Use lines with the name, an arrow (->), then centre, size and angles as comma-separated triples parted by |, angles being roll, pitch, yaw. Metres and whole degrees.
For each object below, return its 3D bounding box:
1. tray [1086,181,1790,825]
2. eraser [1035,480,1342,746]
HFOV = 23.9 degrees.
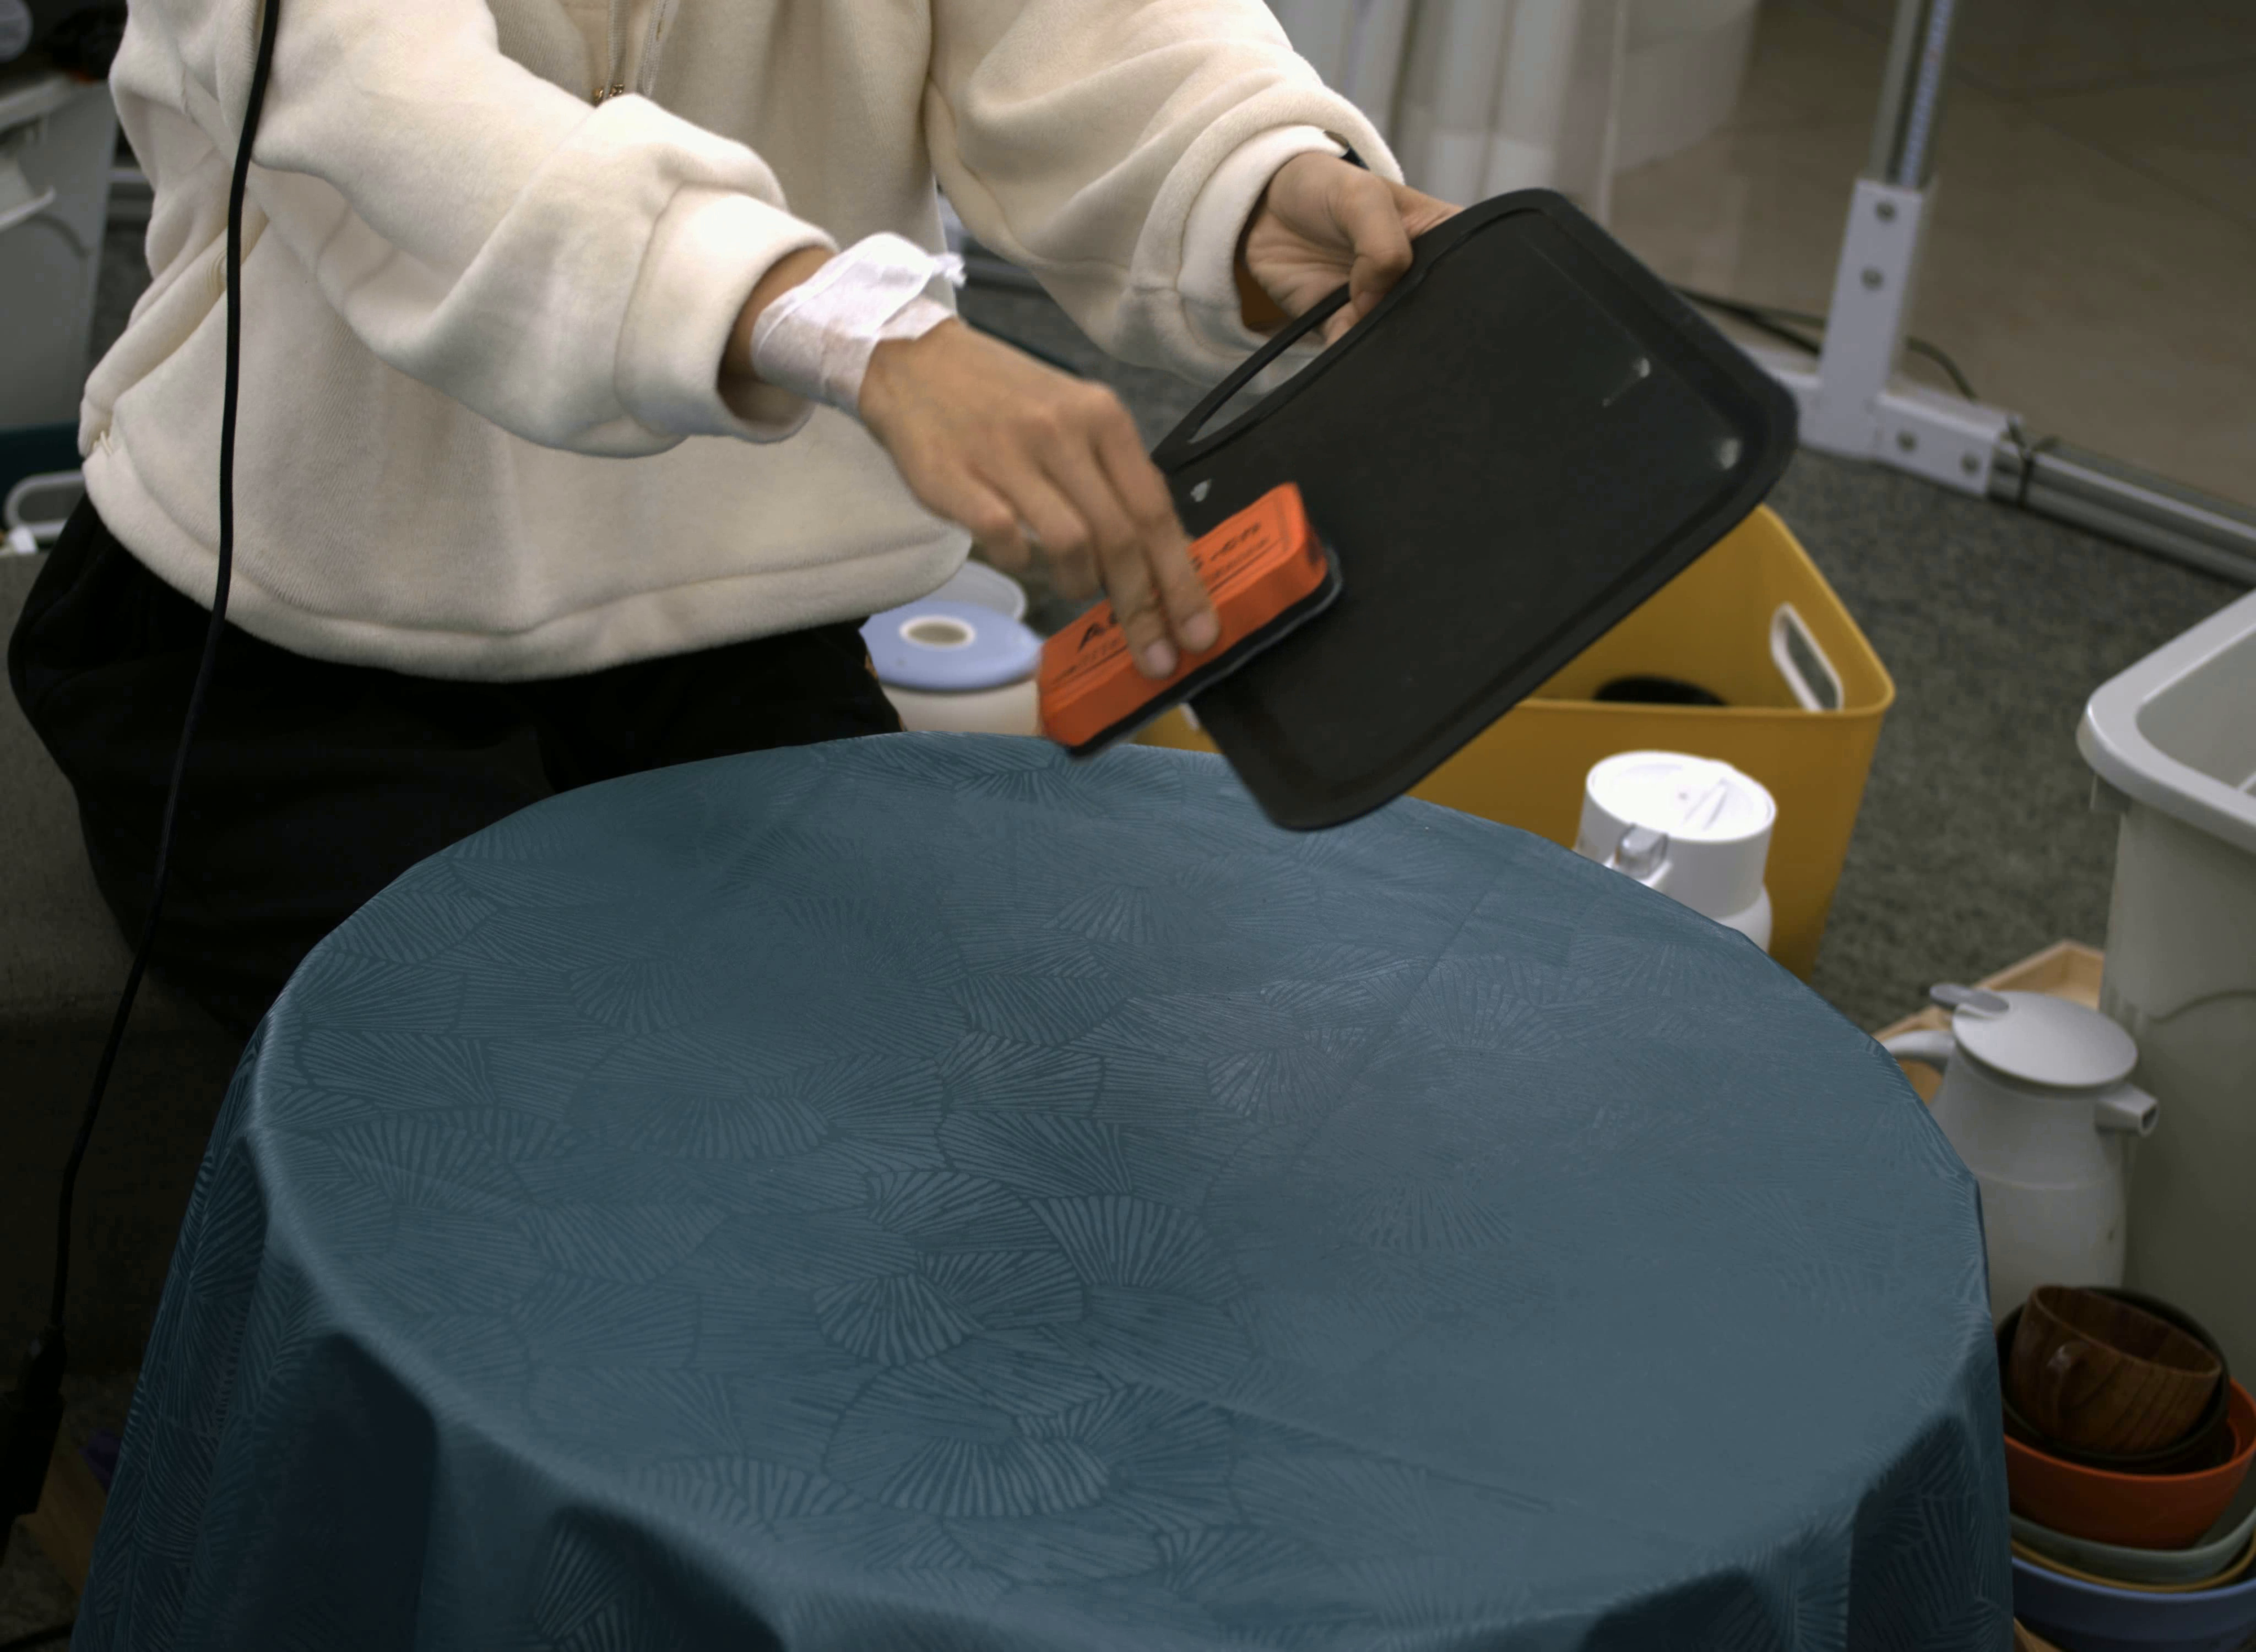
tray -> 0.090, -0.116, 1.752 | 0.211, 0.010, 0.328 | -39, 27, 4
eraser -> 0.019, -0.070, 1.748 | 0.108, 0.023, 0.059 | -32, 21, 13
